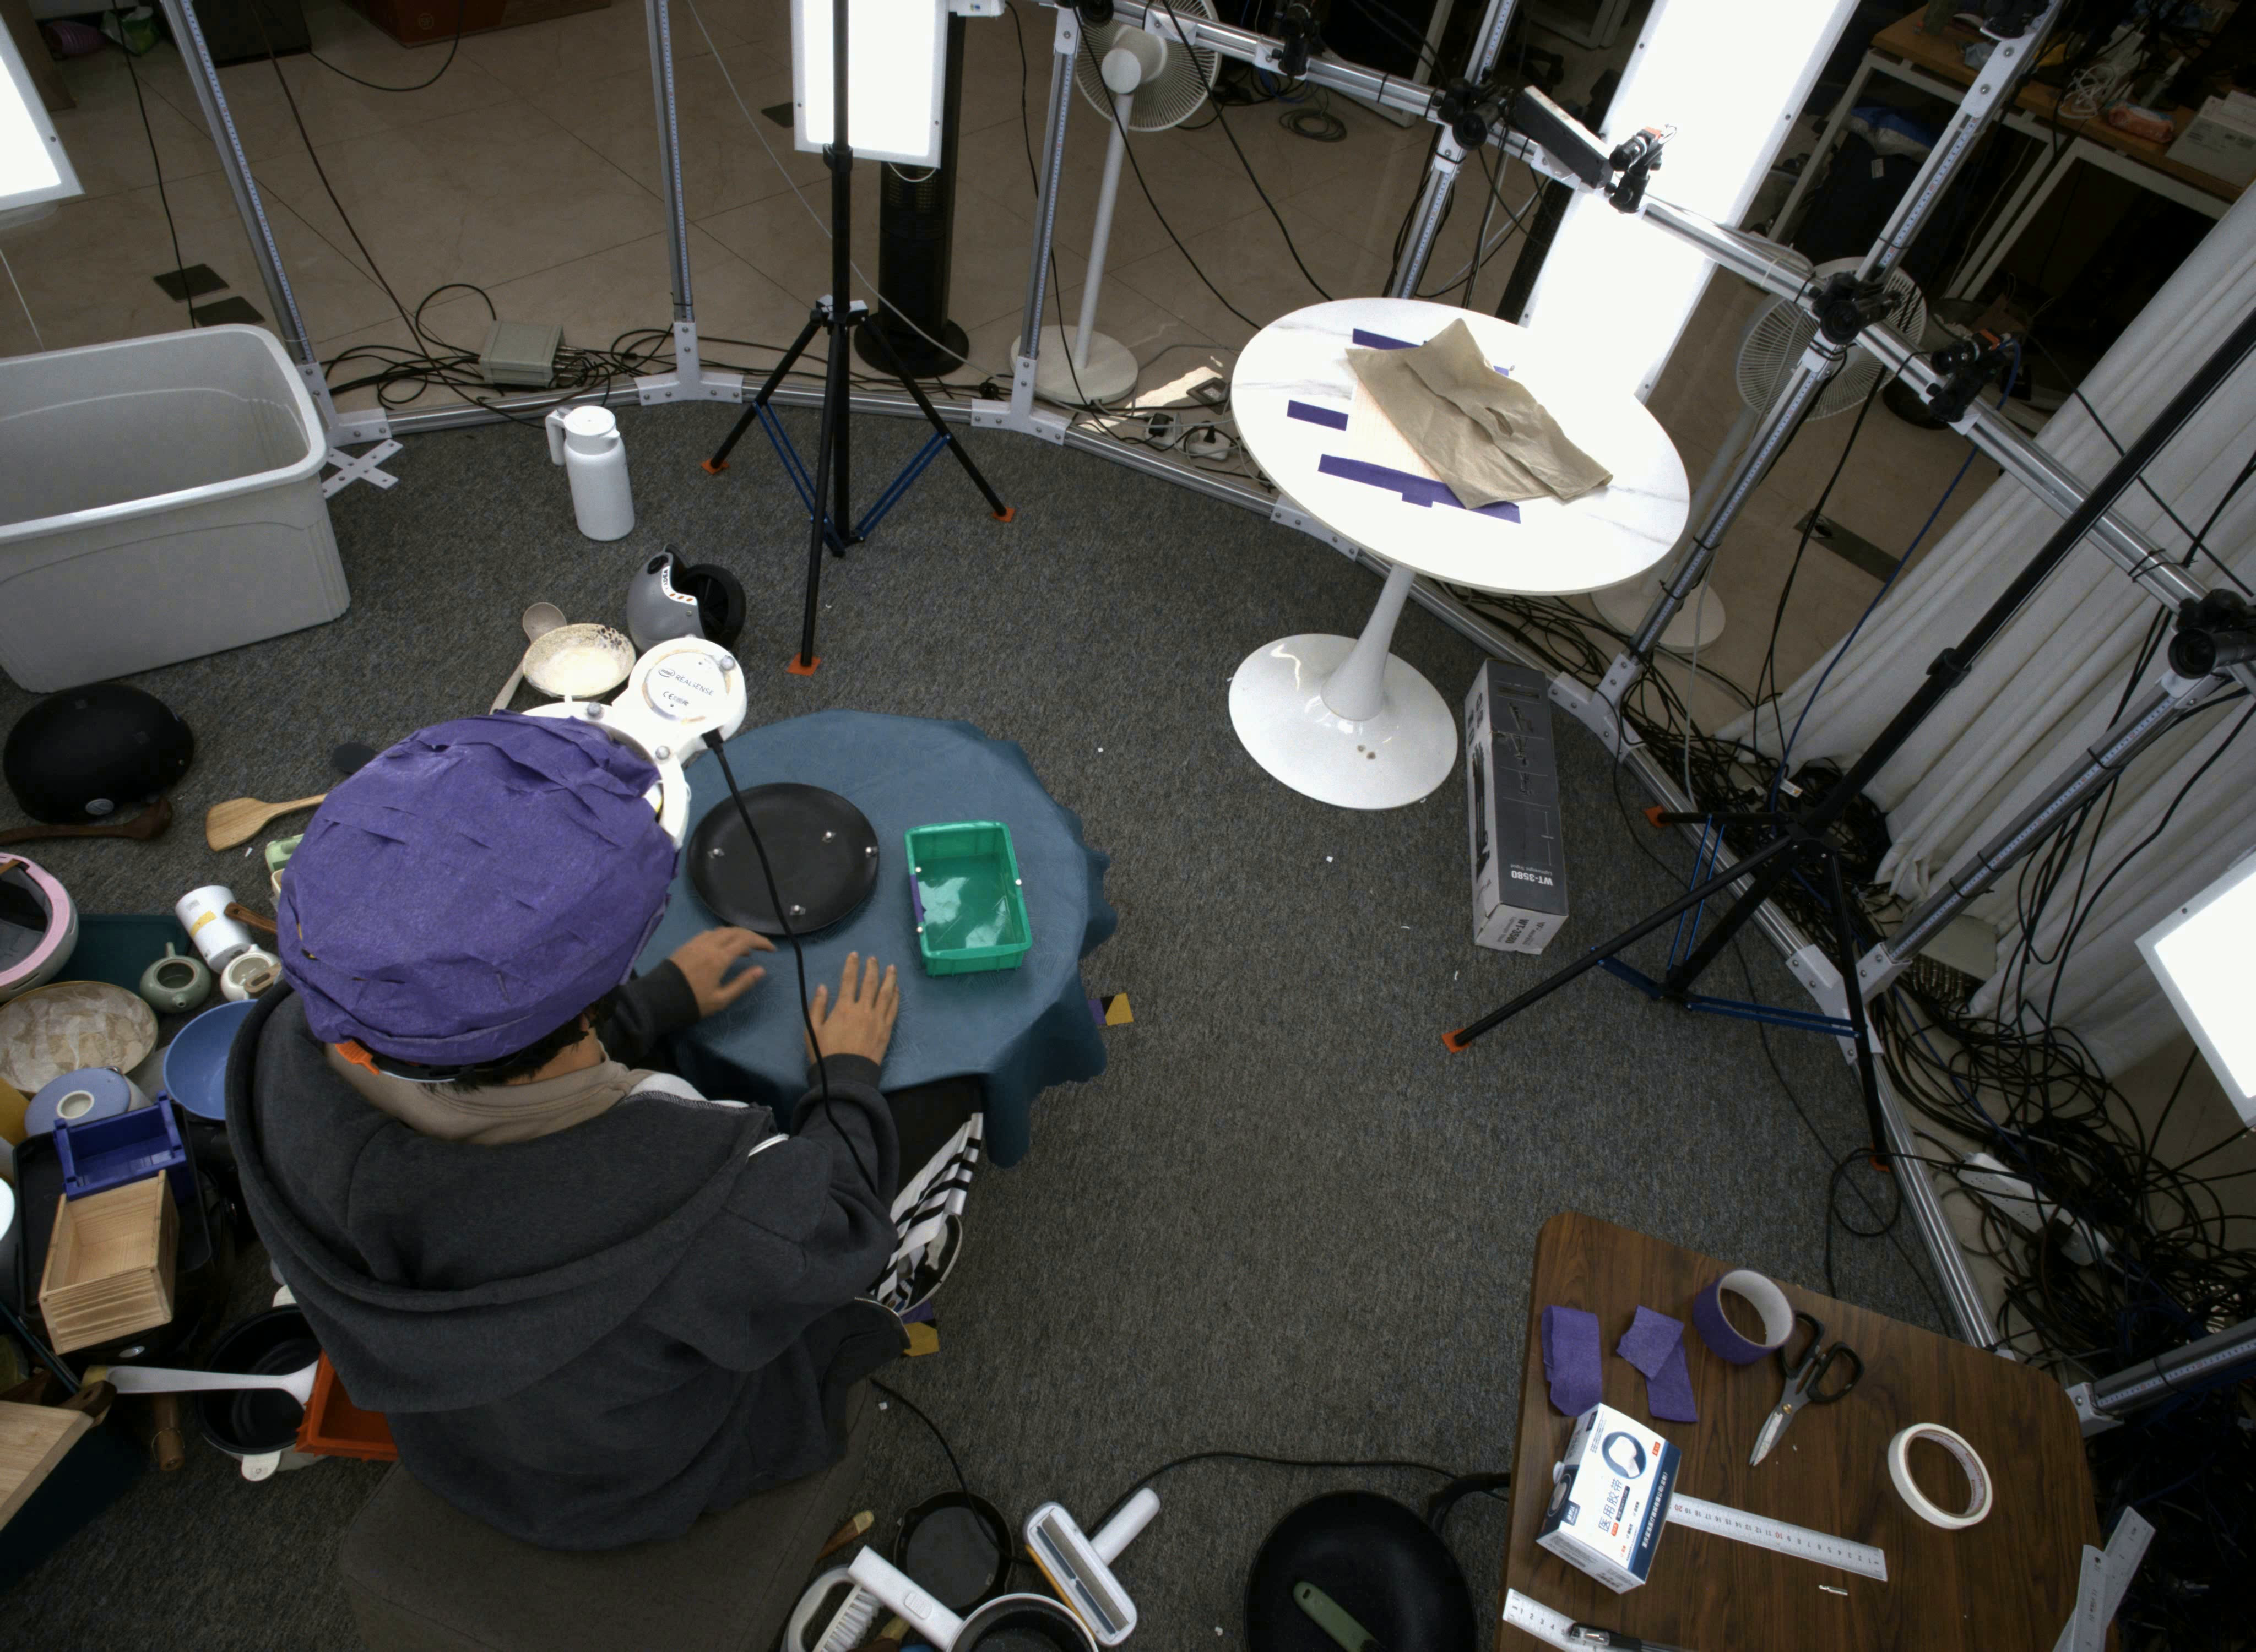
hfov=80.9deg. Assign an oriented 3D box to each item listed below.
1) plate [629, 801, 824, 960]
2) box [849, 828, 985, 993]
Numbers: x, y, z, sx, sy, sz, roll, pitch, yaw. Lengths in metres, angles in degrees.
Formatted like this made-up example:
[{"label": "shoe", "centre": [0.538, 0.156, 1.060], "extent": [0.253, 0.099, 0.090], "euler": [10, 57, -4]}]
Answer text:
[{"label": "plate", "centre": [-0.509, 0.068, 1.641], "extent": [0.244, 0.024, 0.240], "euler": [8, 52, -9]}, {"label": "box", "centre": [-0.269, 0.108, 1.648], "extent": [0.139, 0.066, 0.206], "euler": [-10, 59, -18]}]
